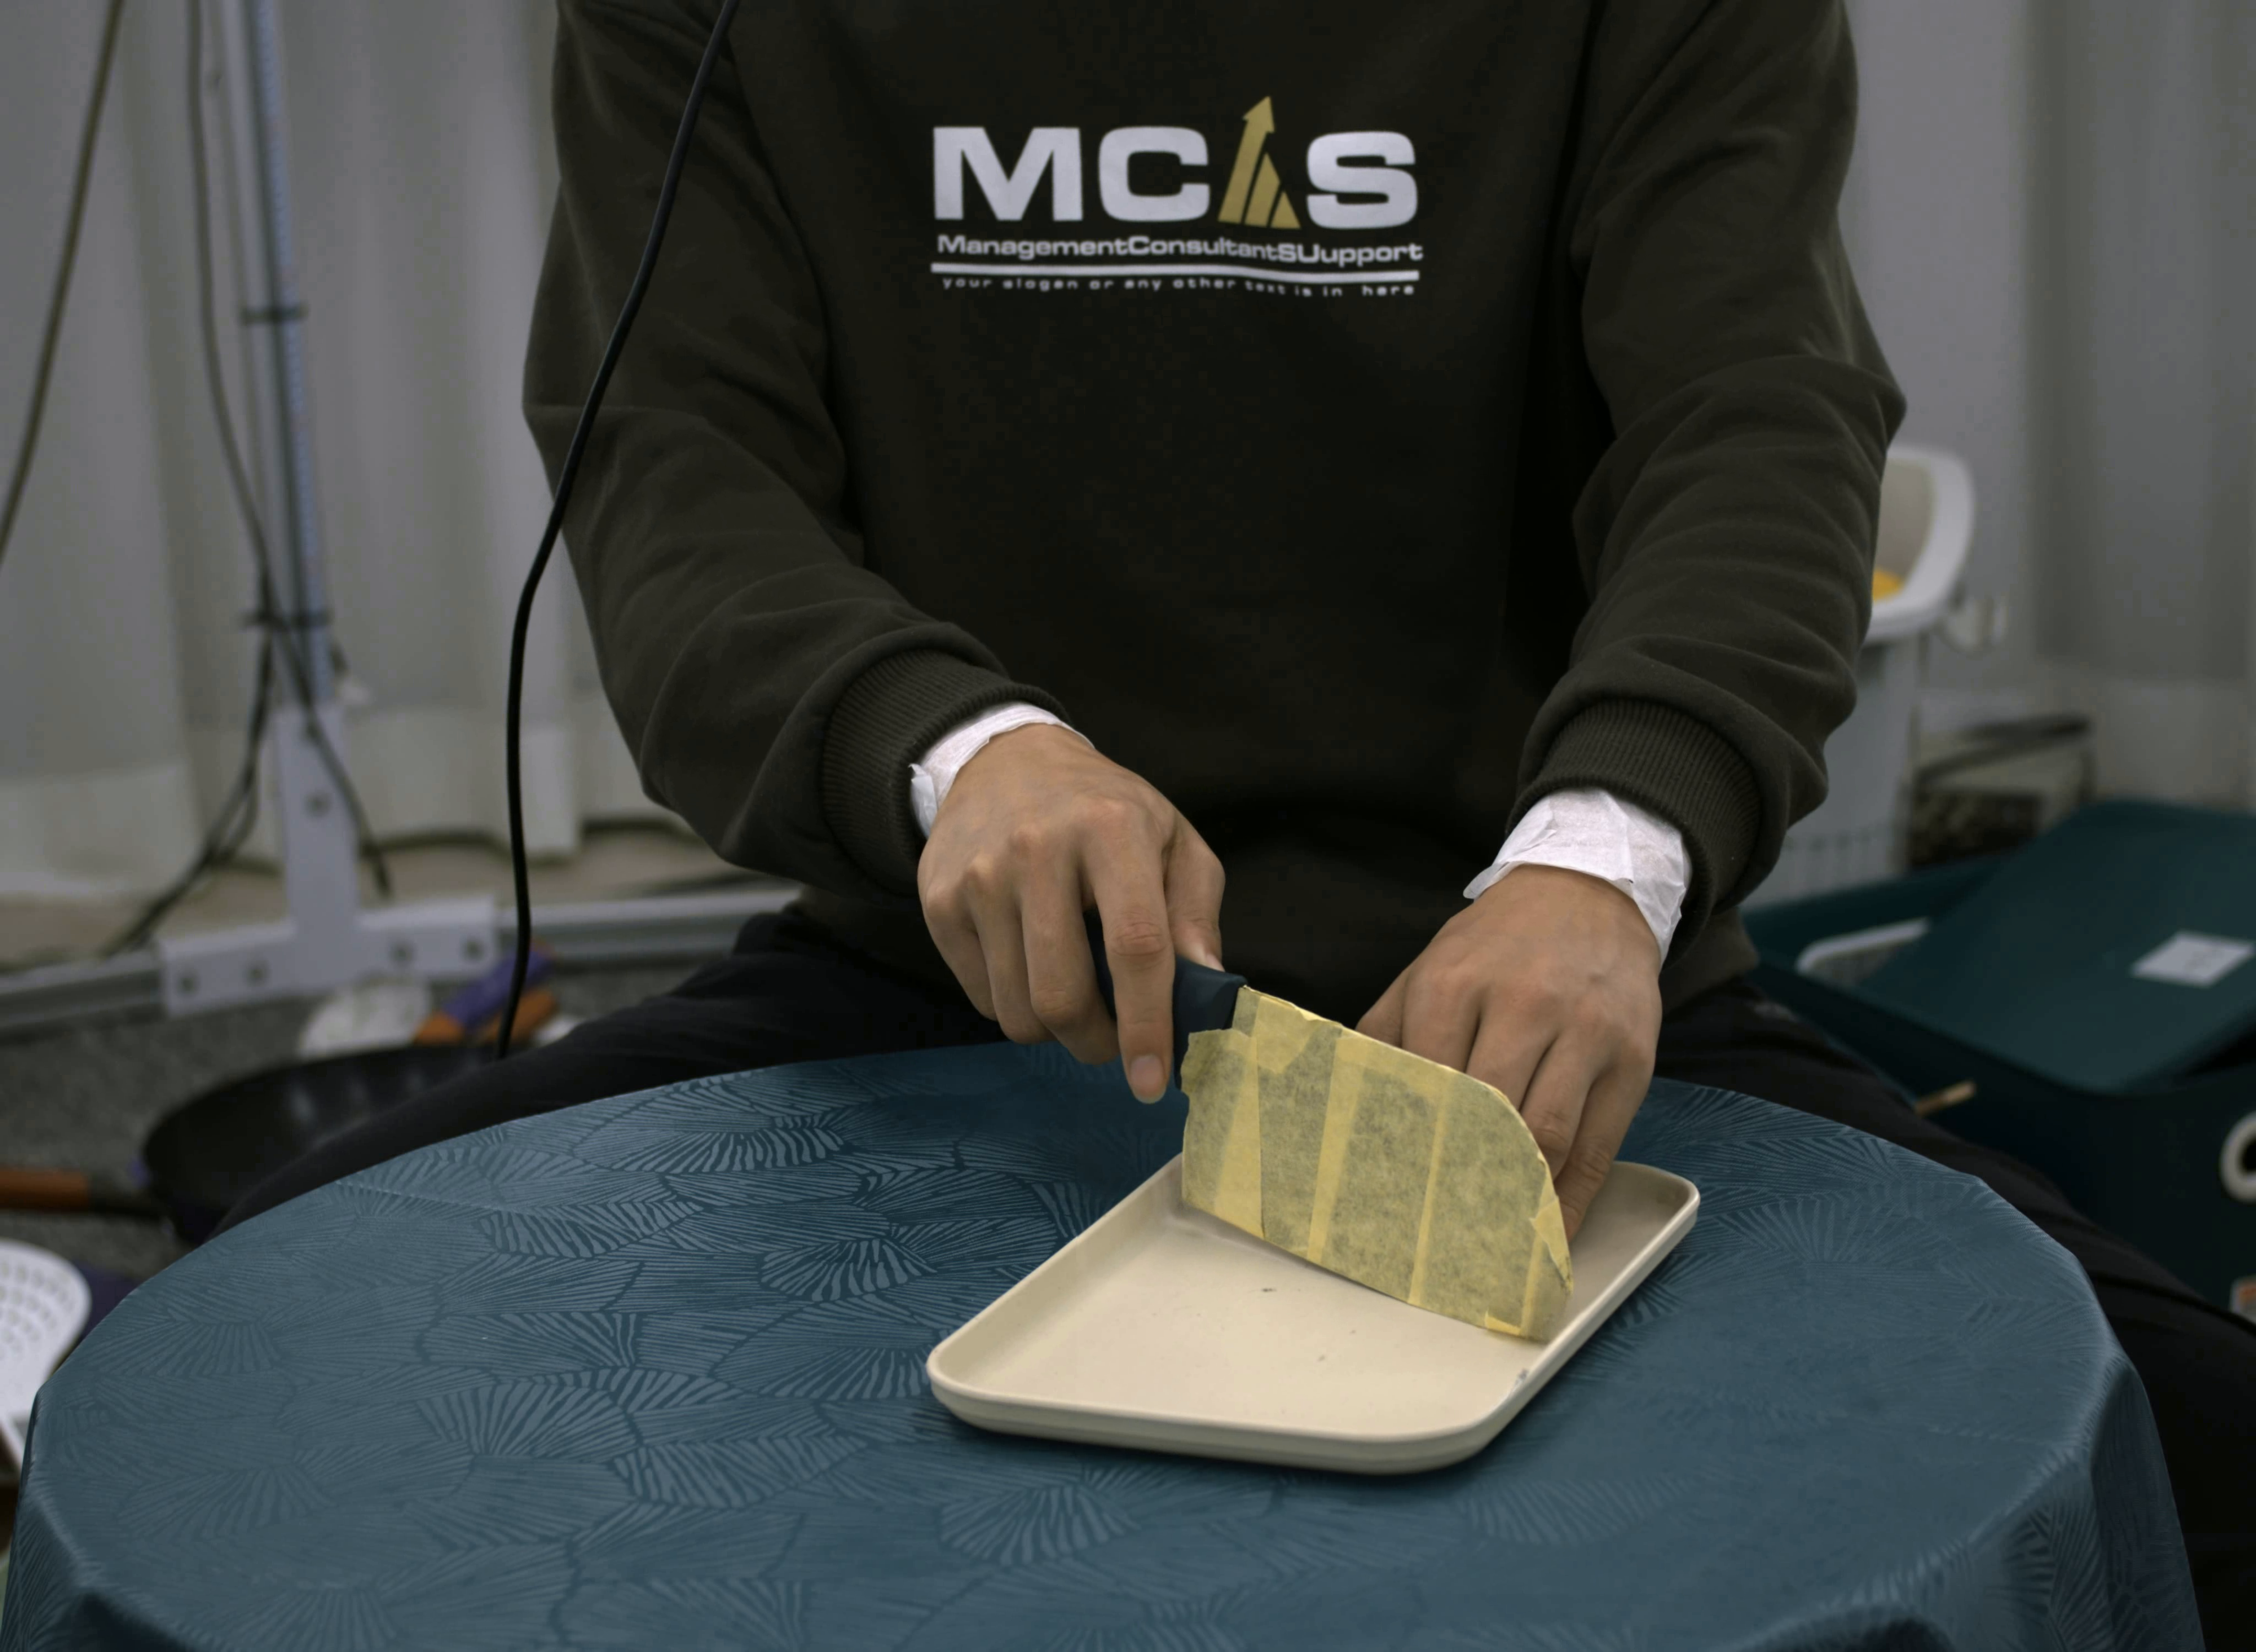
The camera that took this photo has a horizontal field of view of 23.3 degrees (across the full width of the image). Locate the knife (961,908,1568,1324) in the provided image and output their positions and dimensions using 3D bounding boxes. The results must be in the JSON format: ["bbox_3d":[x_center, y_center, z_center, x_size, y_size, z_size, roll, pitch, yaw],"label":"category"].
[{"bbox_3d":[0.037,0.084,1.652,0.027,0.081,0.292,4,14,-39],"label":"knife"}]

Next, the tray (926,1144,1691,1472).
[{"bbox_3d":[0.057,0.137,1.587,0.171,0.017,0.240,3,15,23],"label":"tray"}]
